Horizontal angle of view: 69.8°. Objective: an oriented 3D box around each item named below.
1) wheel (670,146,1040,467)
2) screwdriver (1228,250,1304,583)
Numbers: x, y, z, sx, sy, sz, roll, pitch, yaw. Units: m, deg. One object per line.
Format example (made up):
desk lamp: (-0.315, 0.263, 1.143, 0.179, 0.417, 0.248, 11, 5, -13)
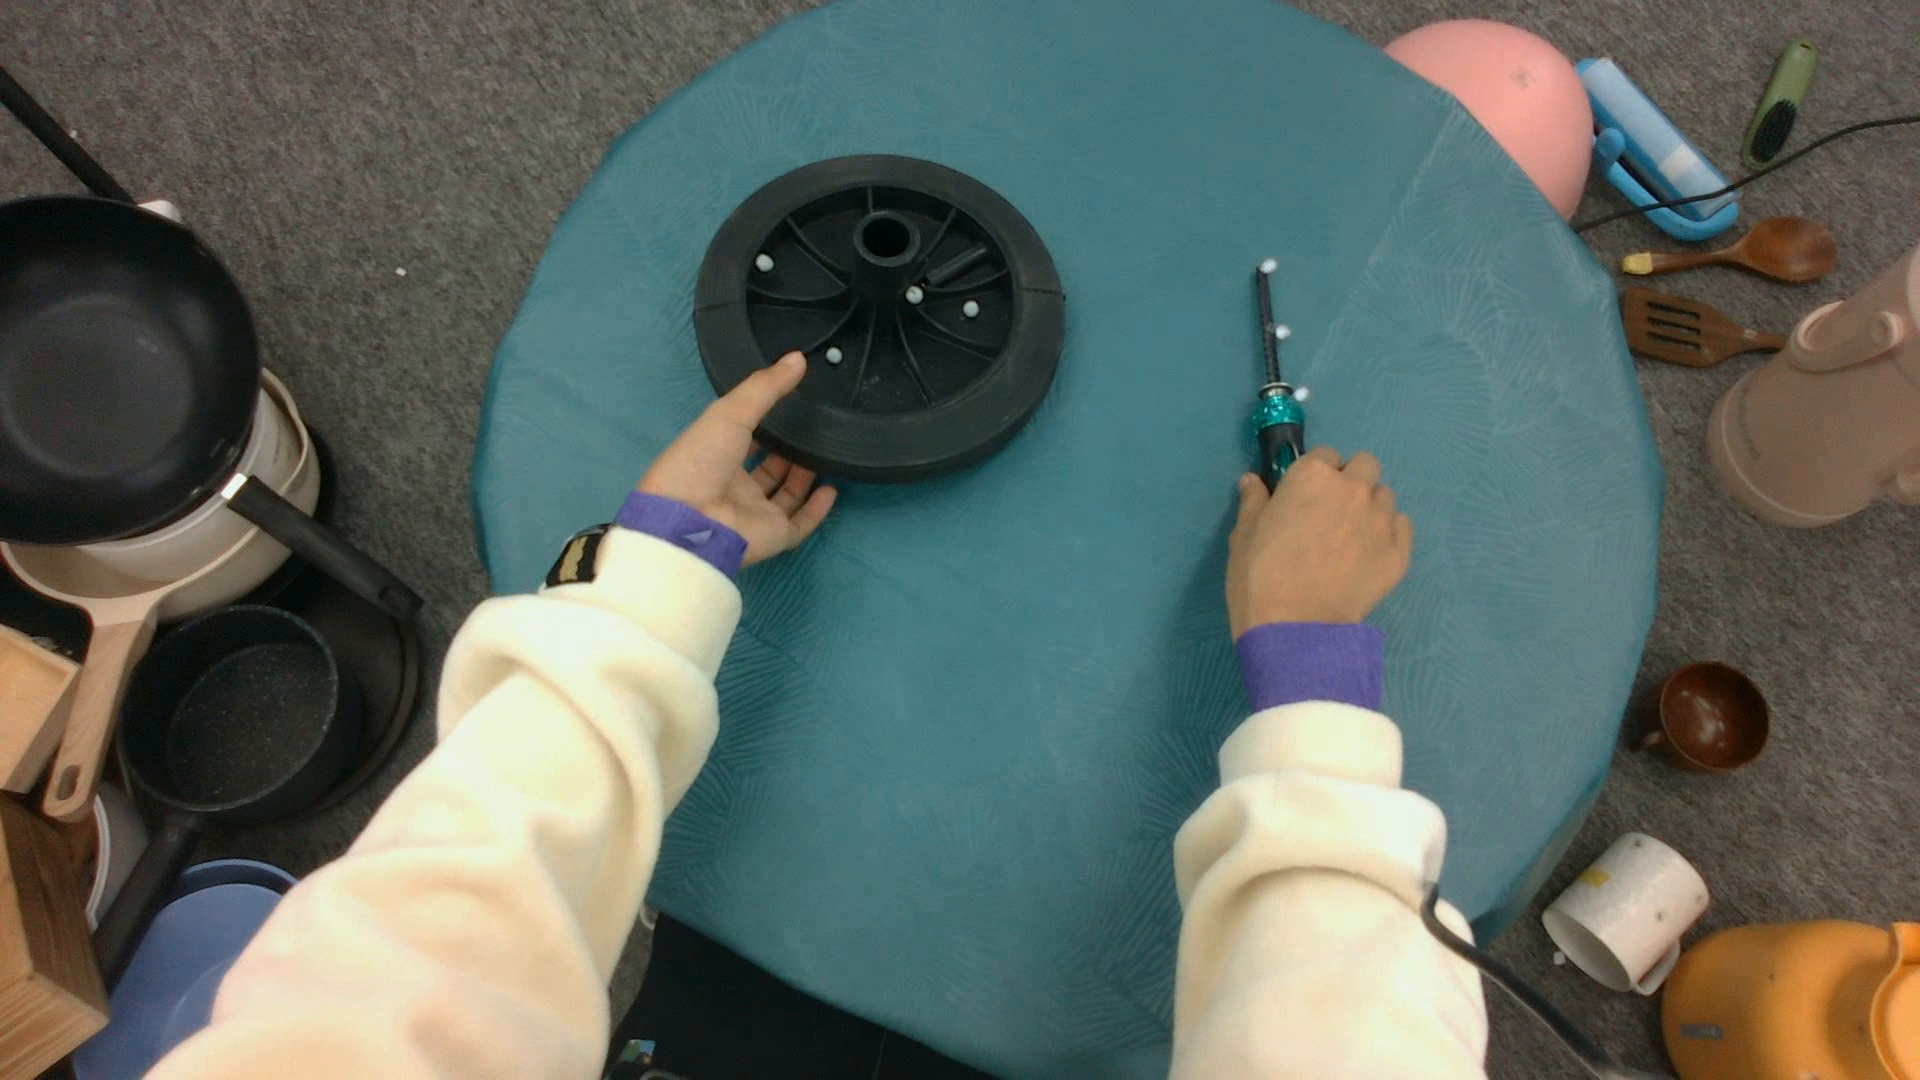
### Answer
wheel: (-0.049, -0.133, 0.682, 0.187, 0.079, 0.190, 28, 63, 6)
screwdriver: (0.150, -0.069, 0.701, 0.034, 0.033, 0.190, 0, 65, -2)
